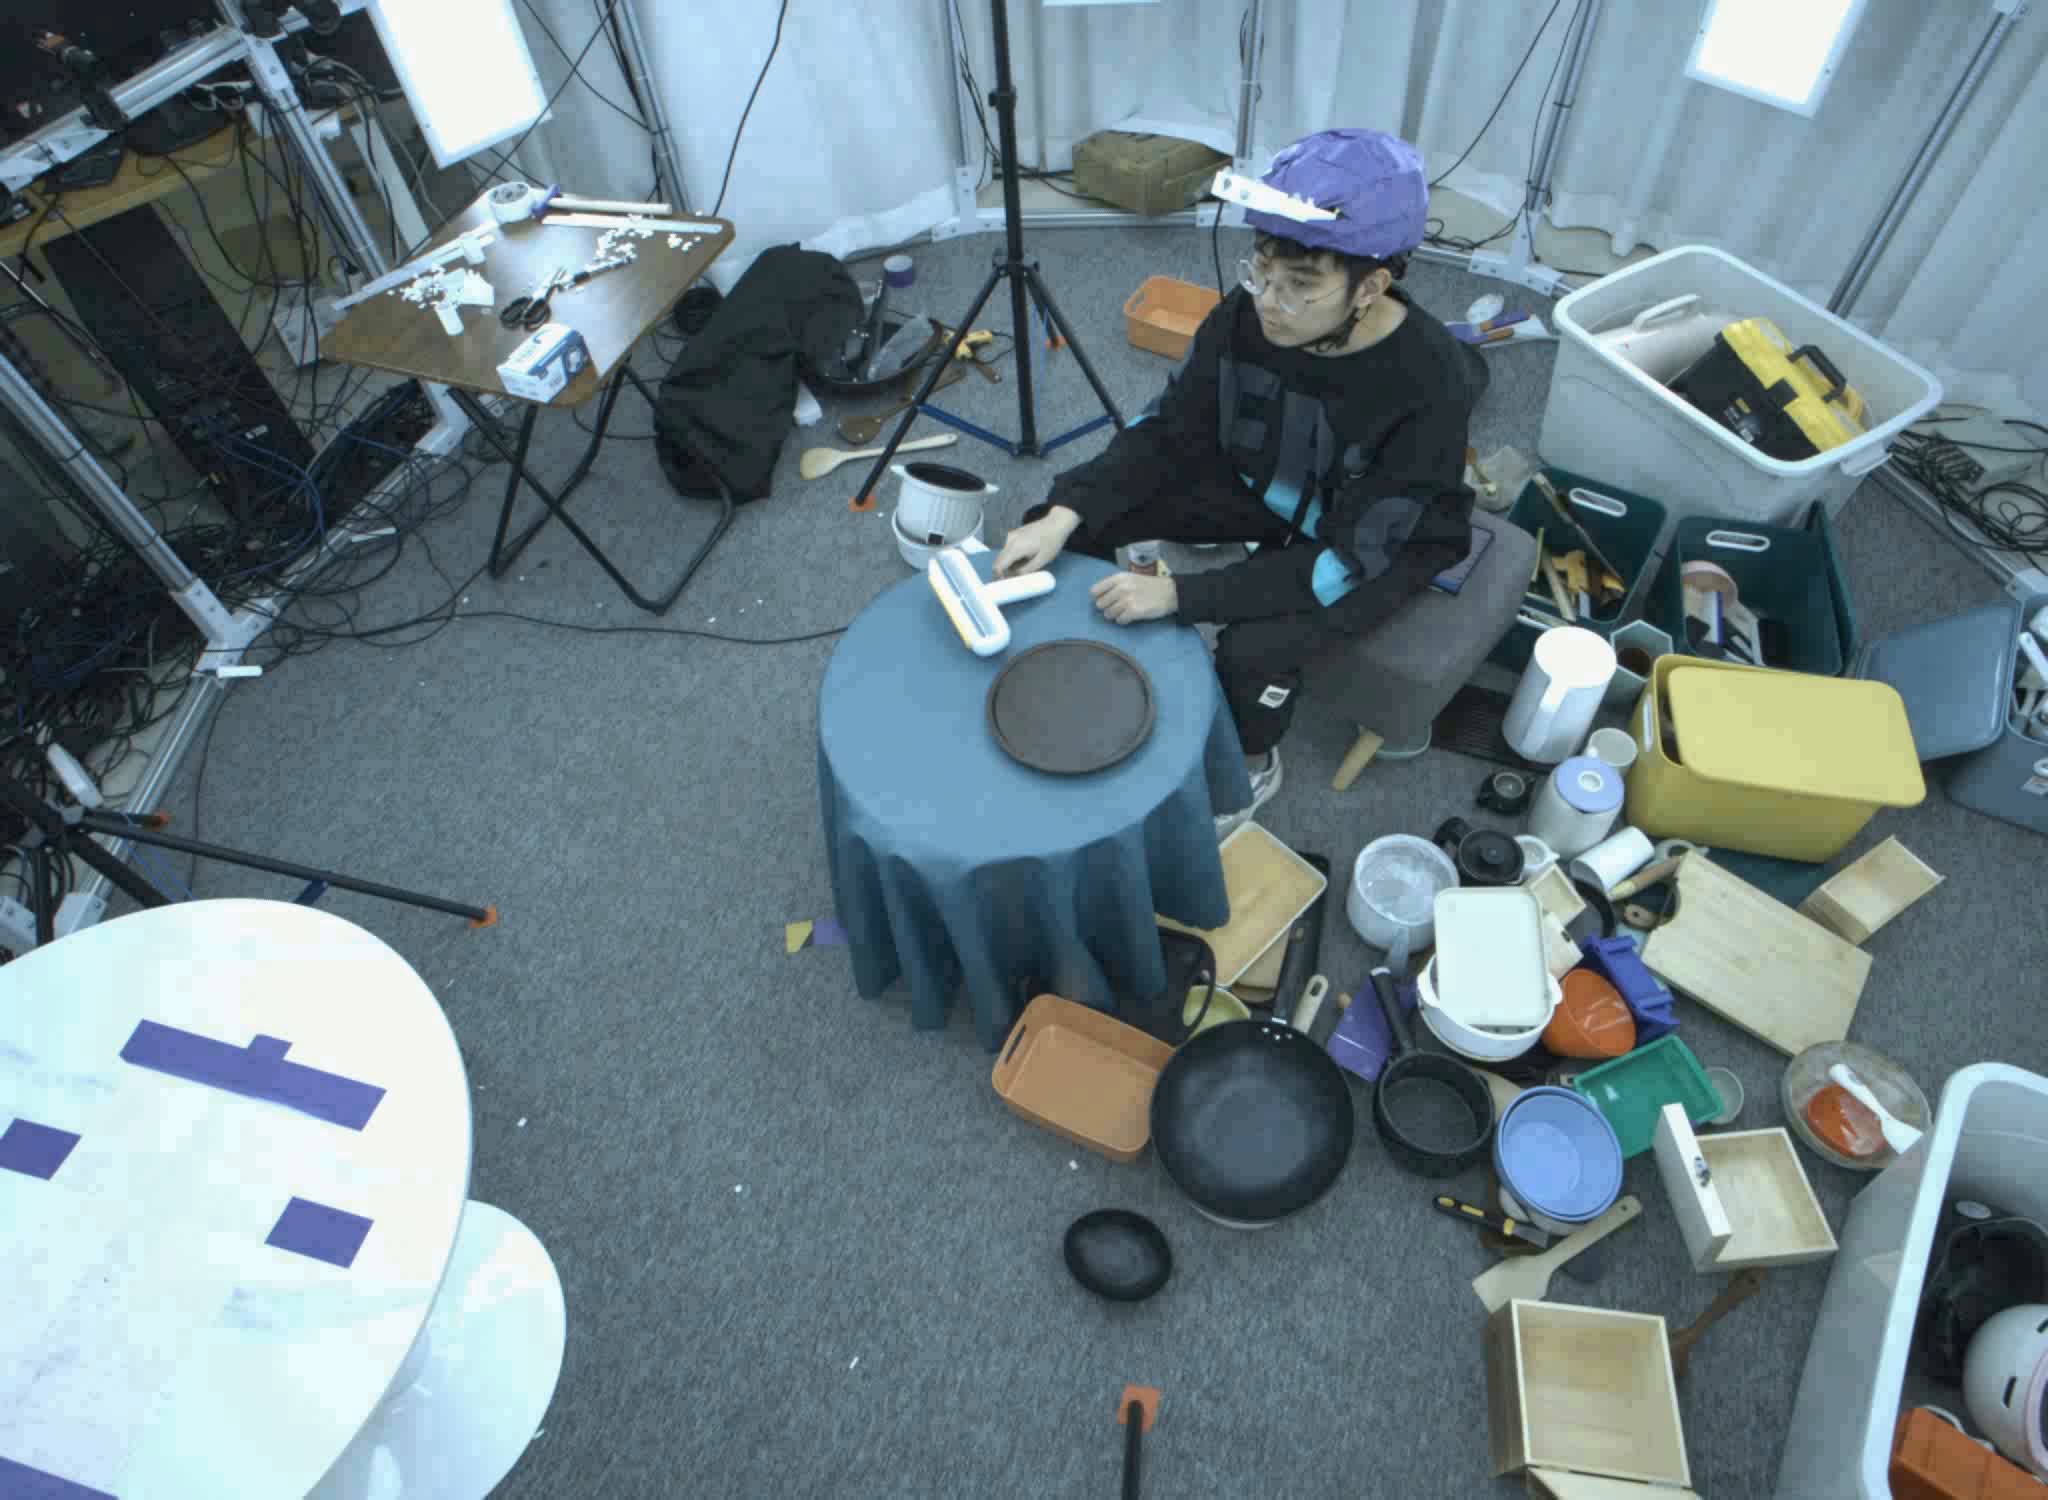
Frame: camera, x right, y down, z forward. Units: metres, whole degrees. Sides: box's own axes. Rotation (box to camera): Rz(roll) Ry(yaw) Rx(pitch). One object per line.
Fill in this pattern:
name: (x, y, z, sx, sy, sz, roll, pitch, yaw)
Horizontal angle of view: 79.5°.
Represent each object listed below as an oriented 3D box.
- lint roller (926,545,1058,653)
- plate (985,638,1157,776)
lint roller: (-0.037, -0.250, 1.921, 0.194, 0.075, 0.190, -20, 62, -14)
plate: (0.068, -0.065, 1.813, 0.255, 0.029, 0.252, 0, 54, 1)
